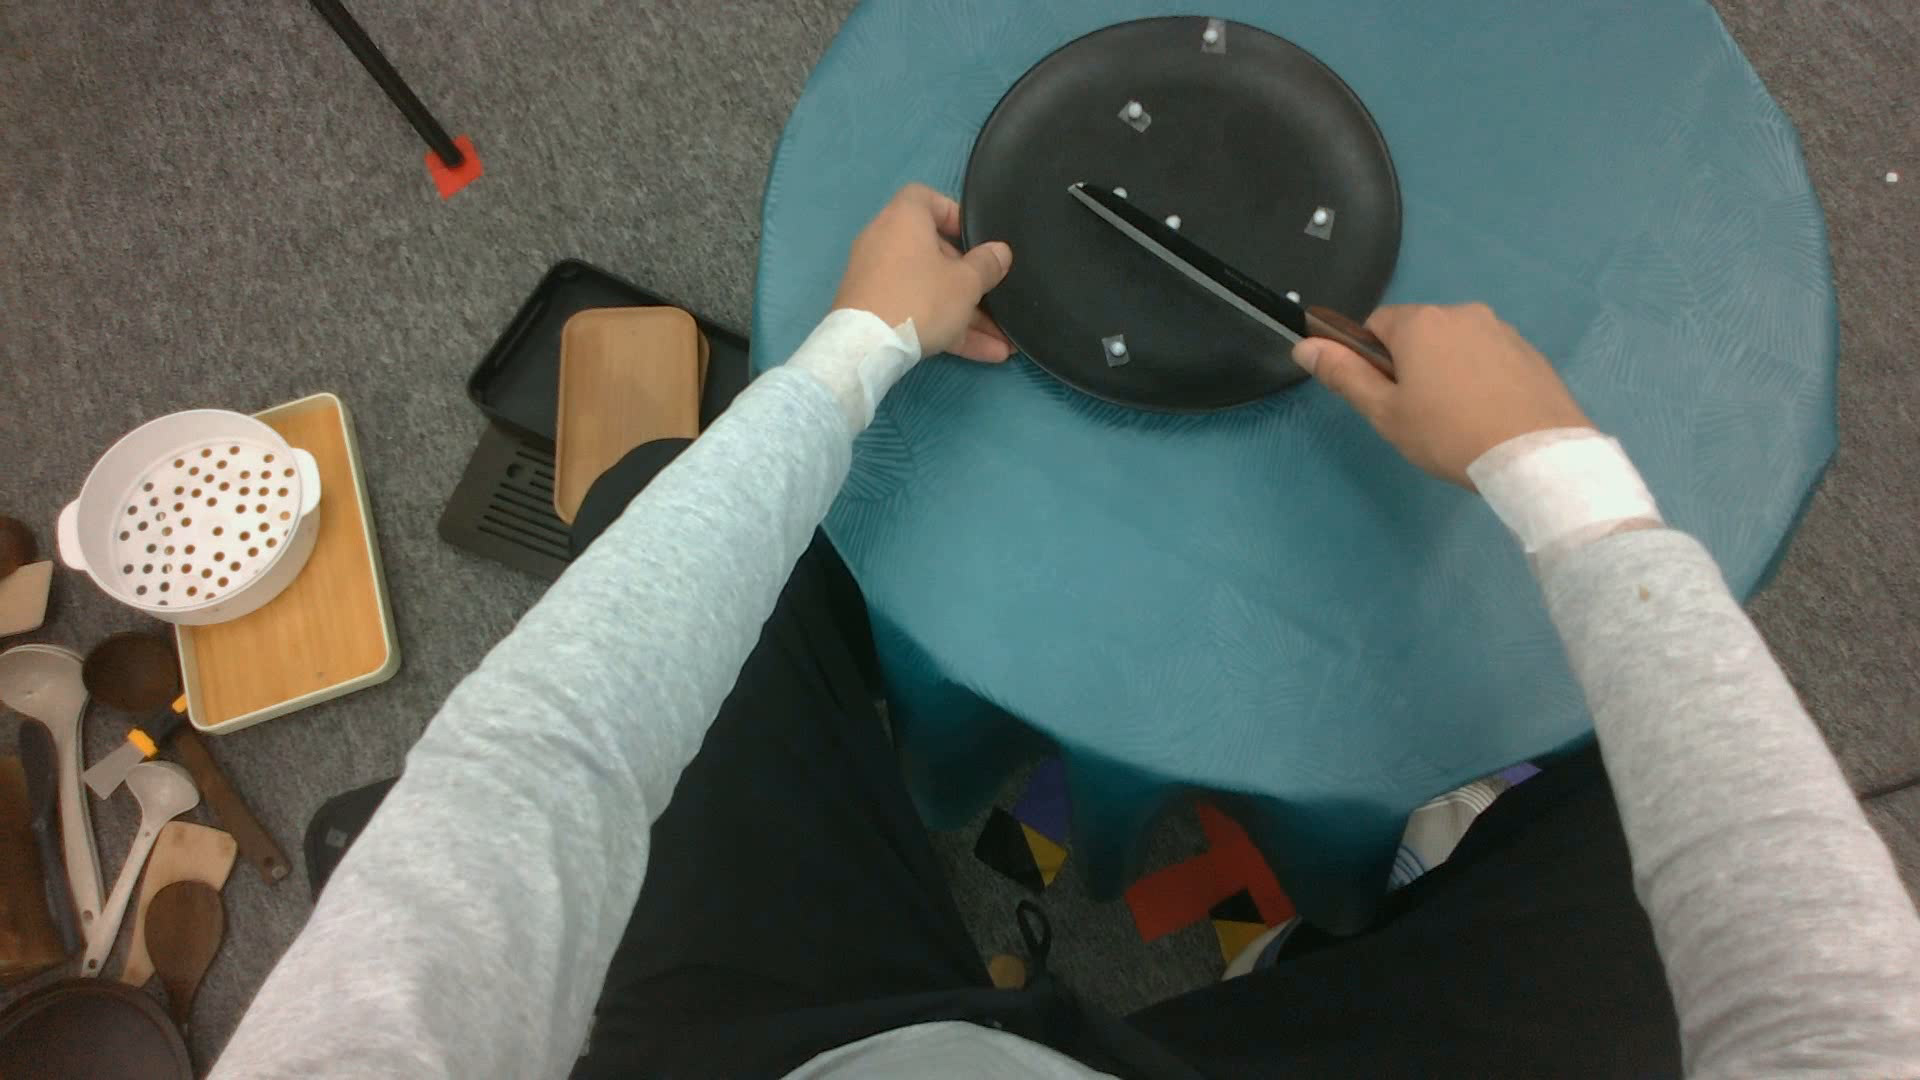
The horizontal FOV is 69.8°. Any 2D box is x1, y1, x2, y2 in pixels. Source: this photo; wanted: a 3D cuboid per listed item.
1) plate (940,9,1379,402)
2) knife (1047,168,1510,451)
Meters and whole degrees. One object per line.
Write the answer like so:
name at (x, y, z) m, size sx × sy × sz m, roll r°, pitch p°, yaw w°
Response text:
plate at (0.111, -0.189, 0.775) m, size 0.244 × 0.023 × 0.245 m, roll 0°, pitch 75°, yaw 2°
knife at (0.154, -0.128, 0.718) m, size 0.289 × 0.050 × 0.020 m, roll 37°, pitch 81°, yaw 24°
